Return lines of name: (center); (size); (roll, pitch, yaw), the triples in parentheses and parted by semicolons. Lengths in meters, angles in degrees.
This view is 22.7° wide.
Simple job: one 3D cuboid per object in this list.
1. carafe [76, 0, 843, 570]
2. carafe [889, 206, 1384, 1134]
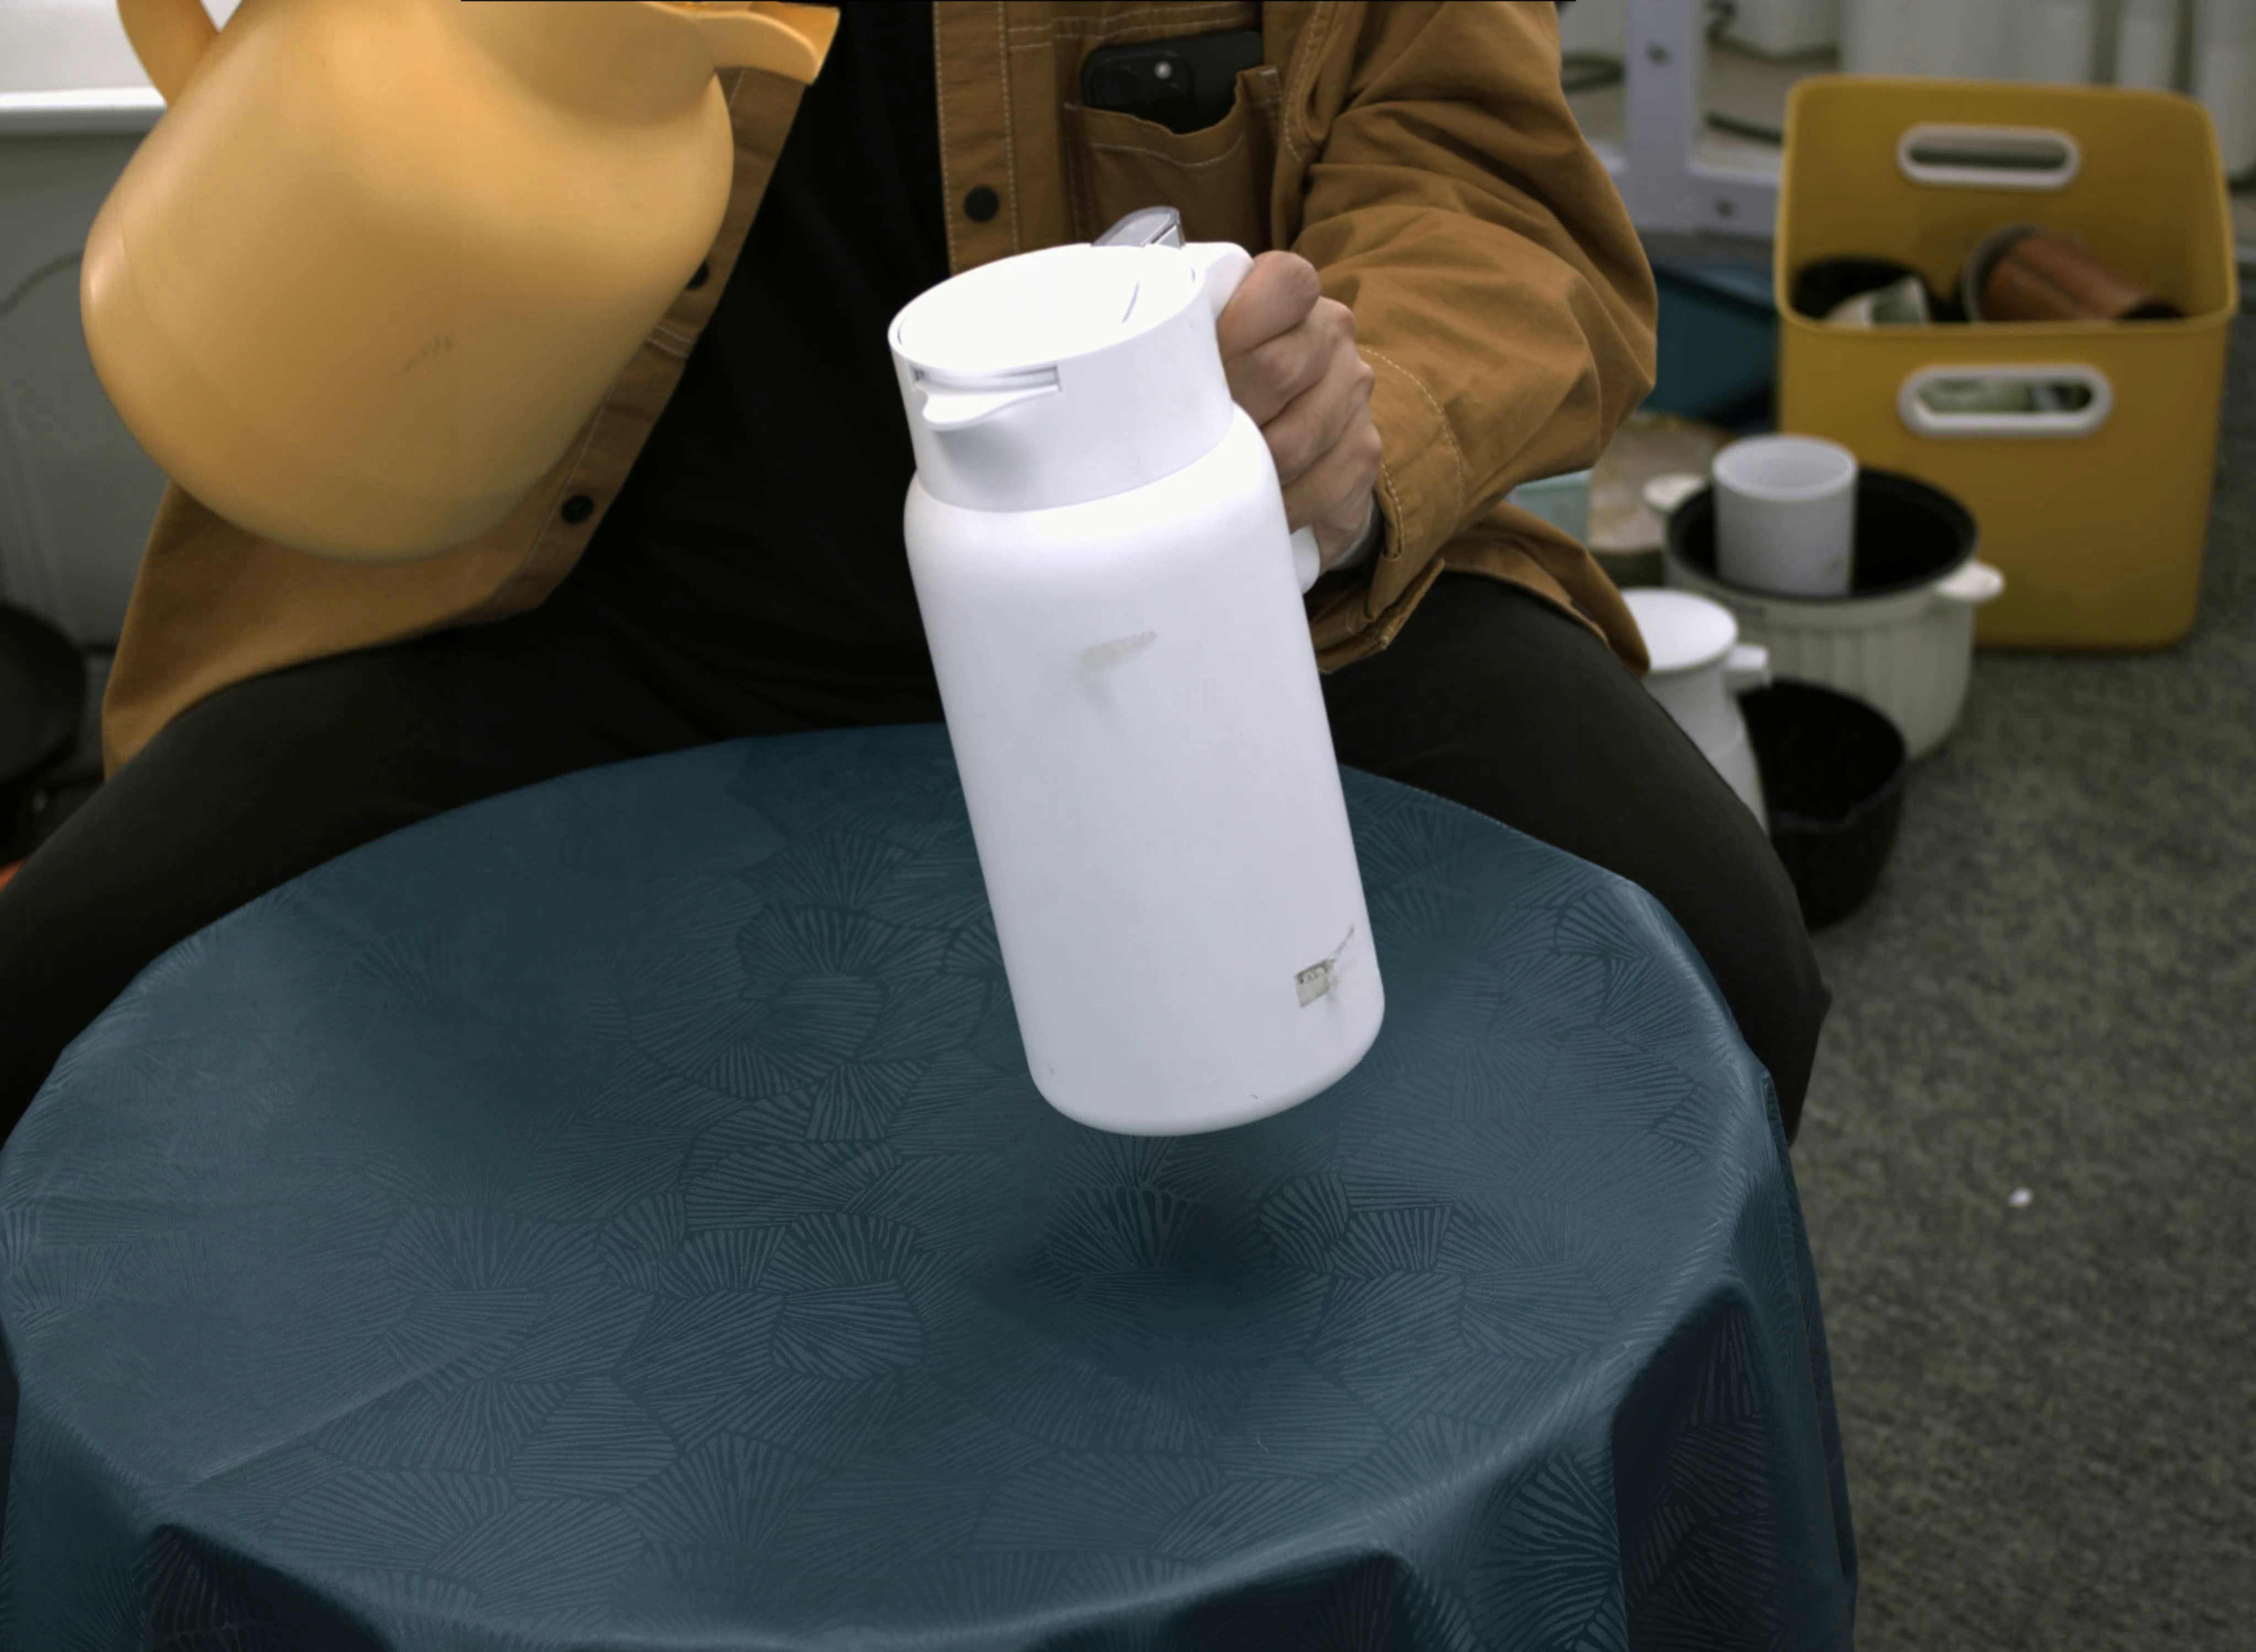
carafe: (-0.220, -0.221, 1.739); (0.202, 0.256, 0.166); (36, 33, -10)
carafe: (0.008, -0.052, 1.771); (0.122, 0.267, 0.176); (0, 26, 31)
